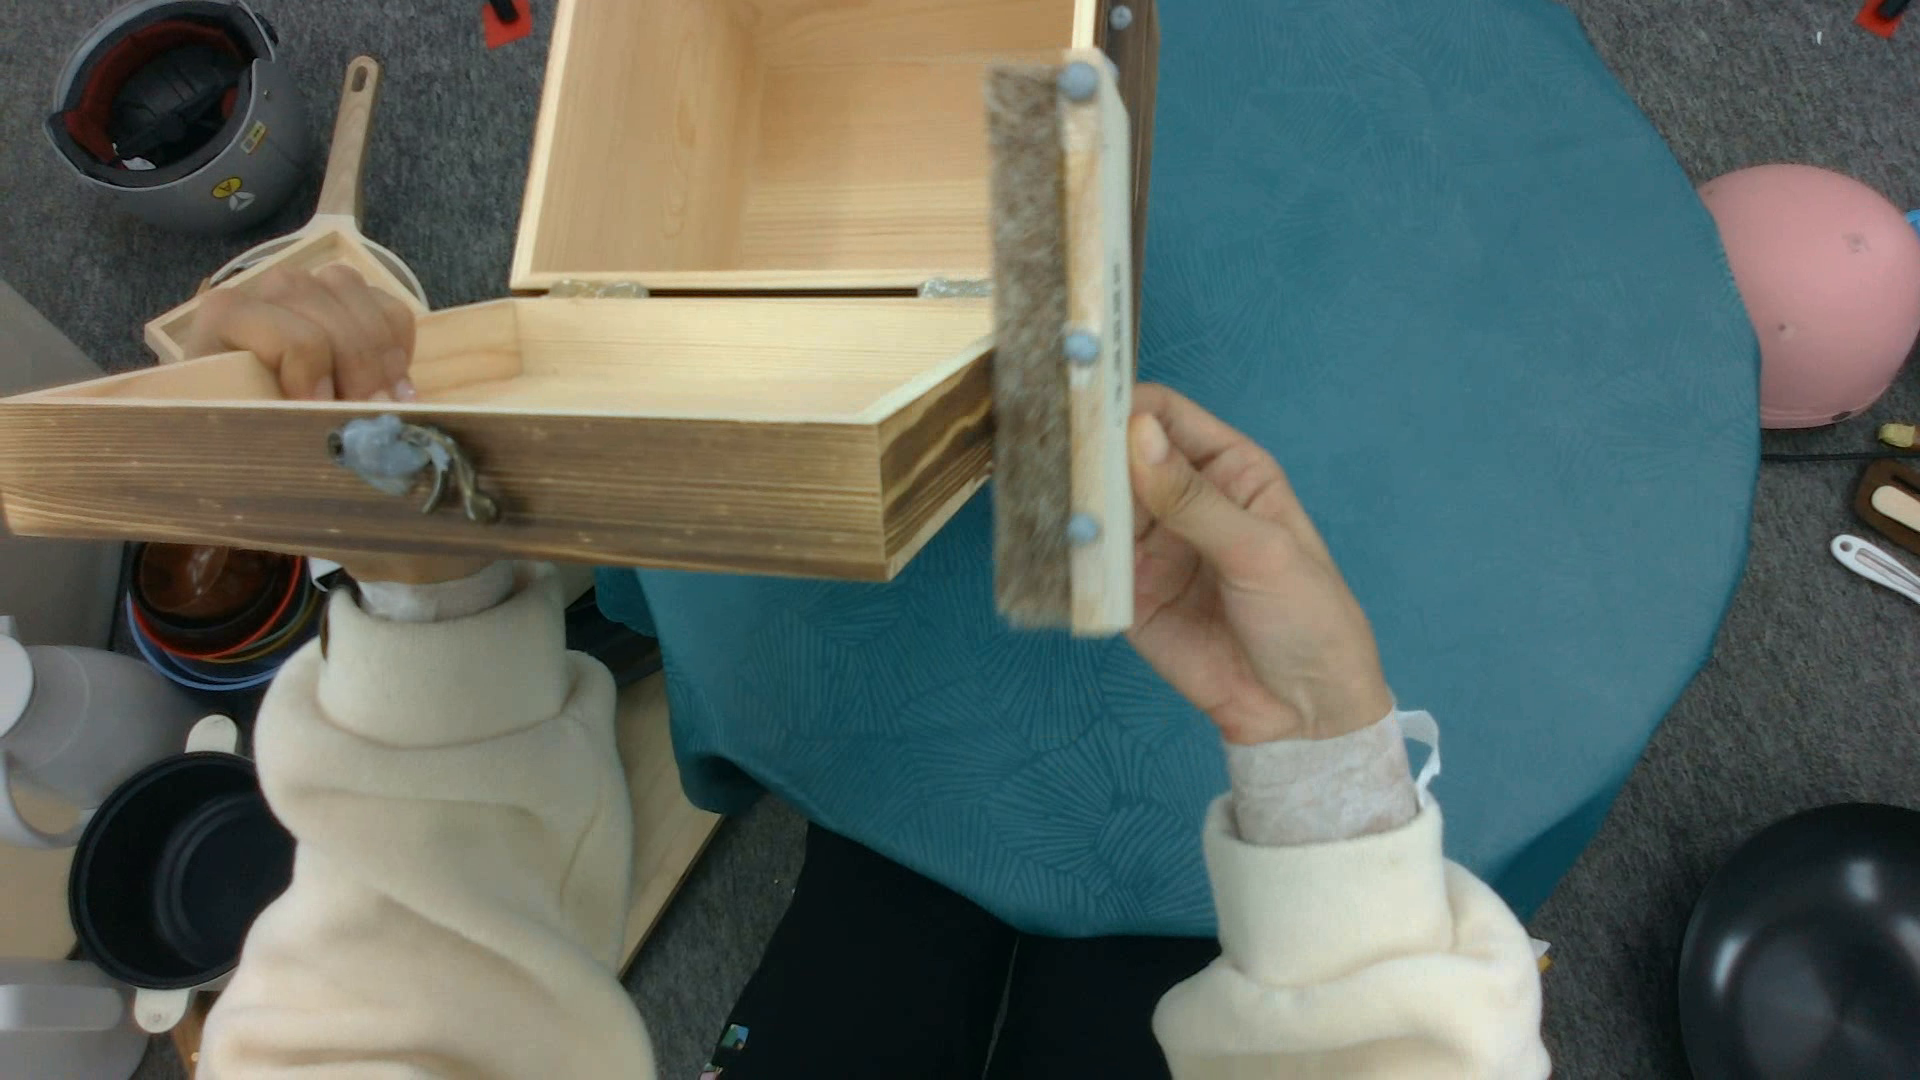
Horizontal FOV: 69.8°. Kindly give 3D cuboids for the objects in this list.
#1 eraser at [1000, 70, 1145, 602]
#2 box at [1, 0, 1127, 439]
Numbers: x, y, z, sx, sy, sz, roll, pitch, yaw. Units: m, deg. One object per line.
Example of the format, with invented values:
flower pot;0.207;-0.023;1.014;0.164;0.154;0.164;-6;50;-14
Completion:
eraser;0.033;-0.054;0.387;0.029;0.057;0.139;1;83;15
box;-0.062;-0.139;0.458;0.208;0.375;0.323;2;76;12
